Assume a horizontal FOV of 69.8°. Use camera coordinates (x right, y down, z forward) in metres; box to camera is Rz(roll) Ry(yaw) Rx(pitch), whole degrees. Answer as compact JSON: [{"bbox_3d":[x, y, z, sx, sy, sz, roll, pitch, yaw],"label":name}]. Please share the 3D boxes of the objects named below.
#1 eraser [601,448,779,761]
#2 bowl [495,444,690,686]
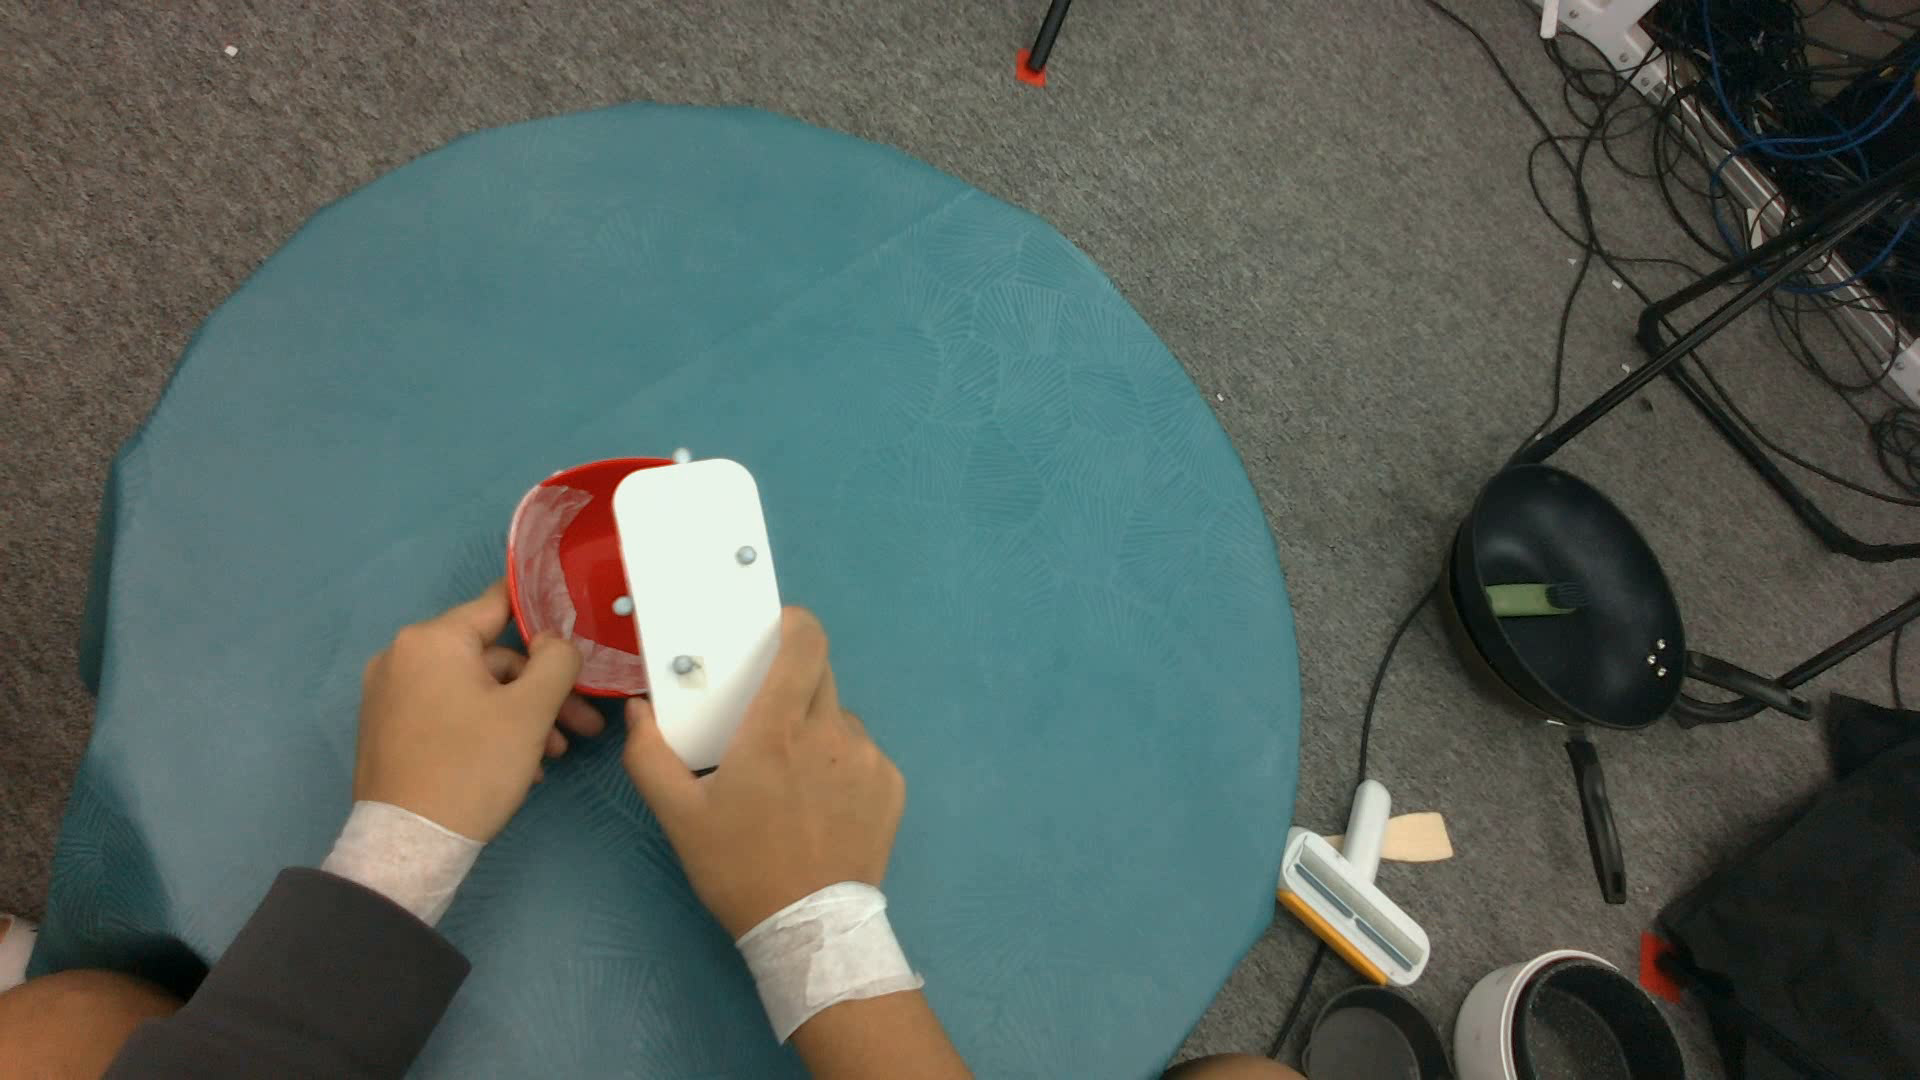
[{"bbox_3d":[-0.118,0.027,0.595,0.063,0.034,0.131,-9,91,-24],"label":"eraser"},{"bbox_3d":[-0.158,0.016,0.637,0.119,0.051,0.119,6,73,-21],"label":"bowl"}]
